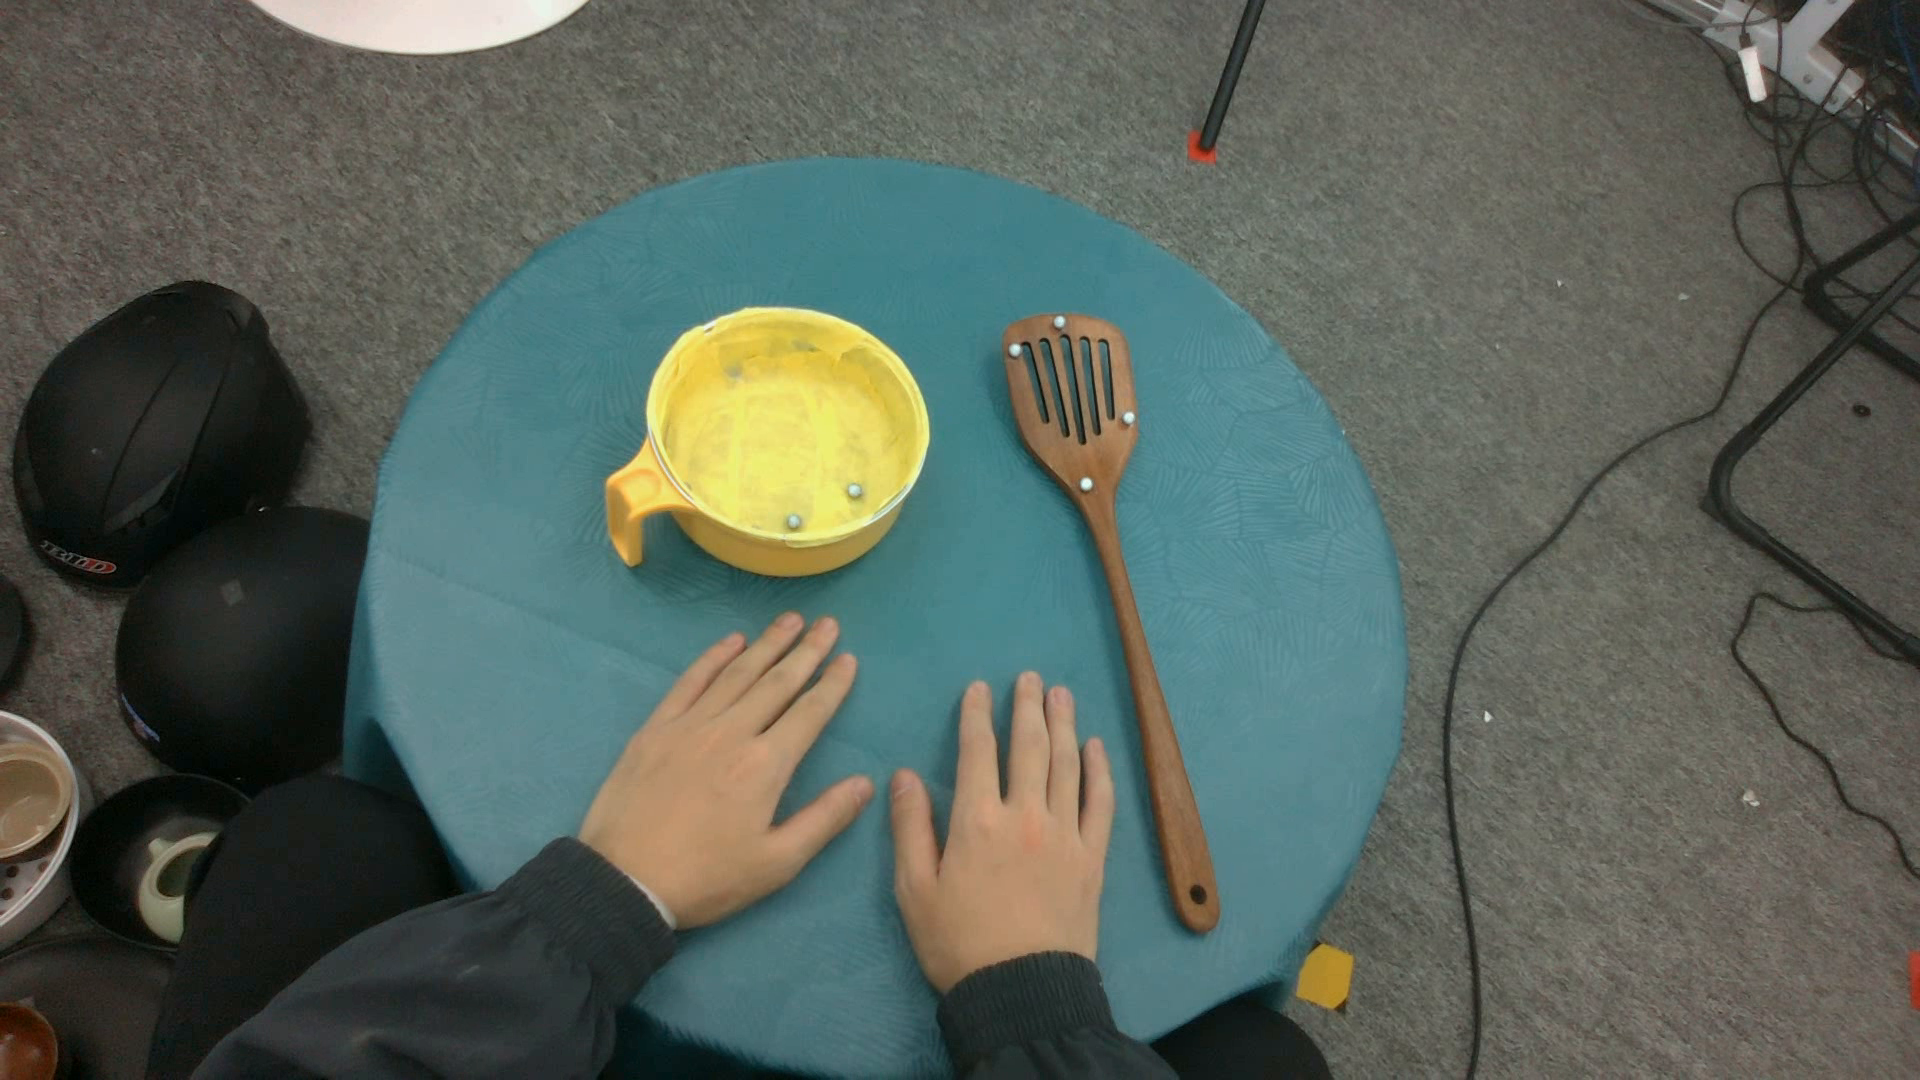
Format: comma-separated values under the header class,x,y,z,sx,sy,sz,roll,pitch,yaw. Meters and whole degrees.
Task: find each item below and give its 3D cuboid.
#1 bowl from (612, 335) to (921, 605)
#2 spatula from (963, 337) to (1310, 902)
class,x,y,z,sx,sy,sz,roll,pitch,yaw
bowl,-0.112,-0.033,0.782,0.180,0.074,0.153,-36,71,-26
spatula,0.107,0.034,0.815,0.085,0.024,0.387,-19,62,-11
